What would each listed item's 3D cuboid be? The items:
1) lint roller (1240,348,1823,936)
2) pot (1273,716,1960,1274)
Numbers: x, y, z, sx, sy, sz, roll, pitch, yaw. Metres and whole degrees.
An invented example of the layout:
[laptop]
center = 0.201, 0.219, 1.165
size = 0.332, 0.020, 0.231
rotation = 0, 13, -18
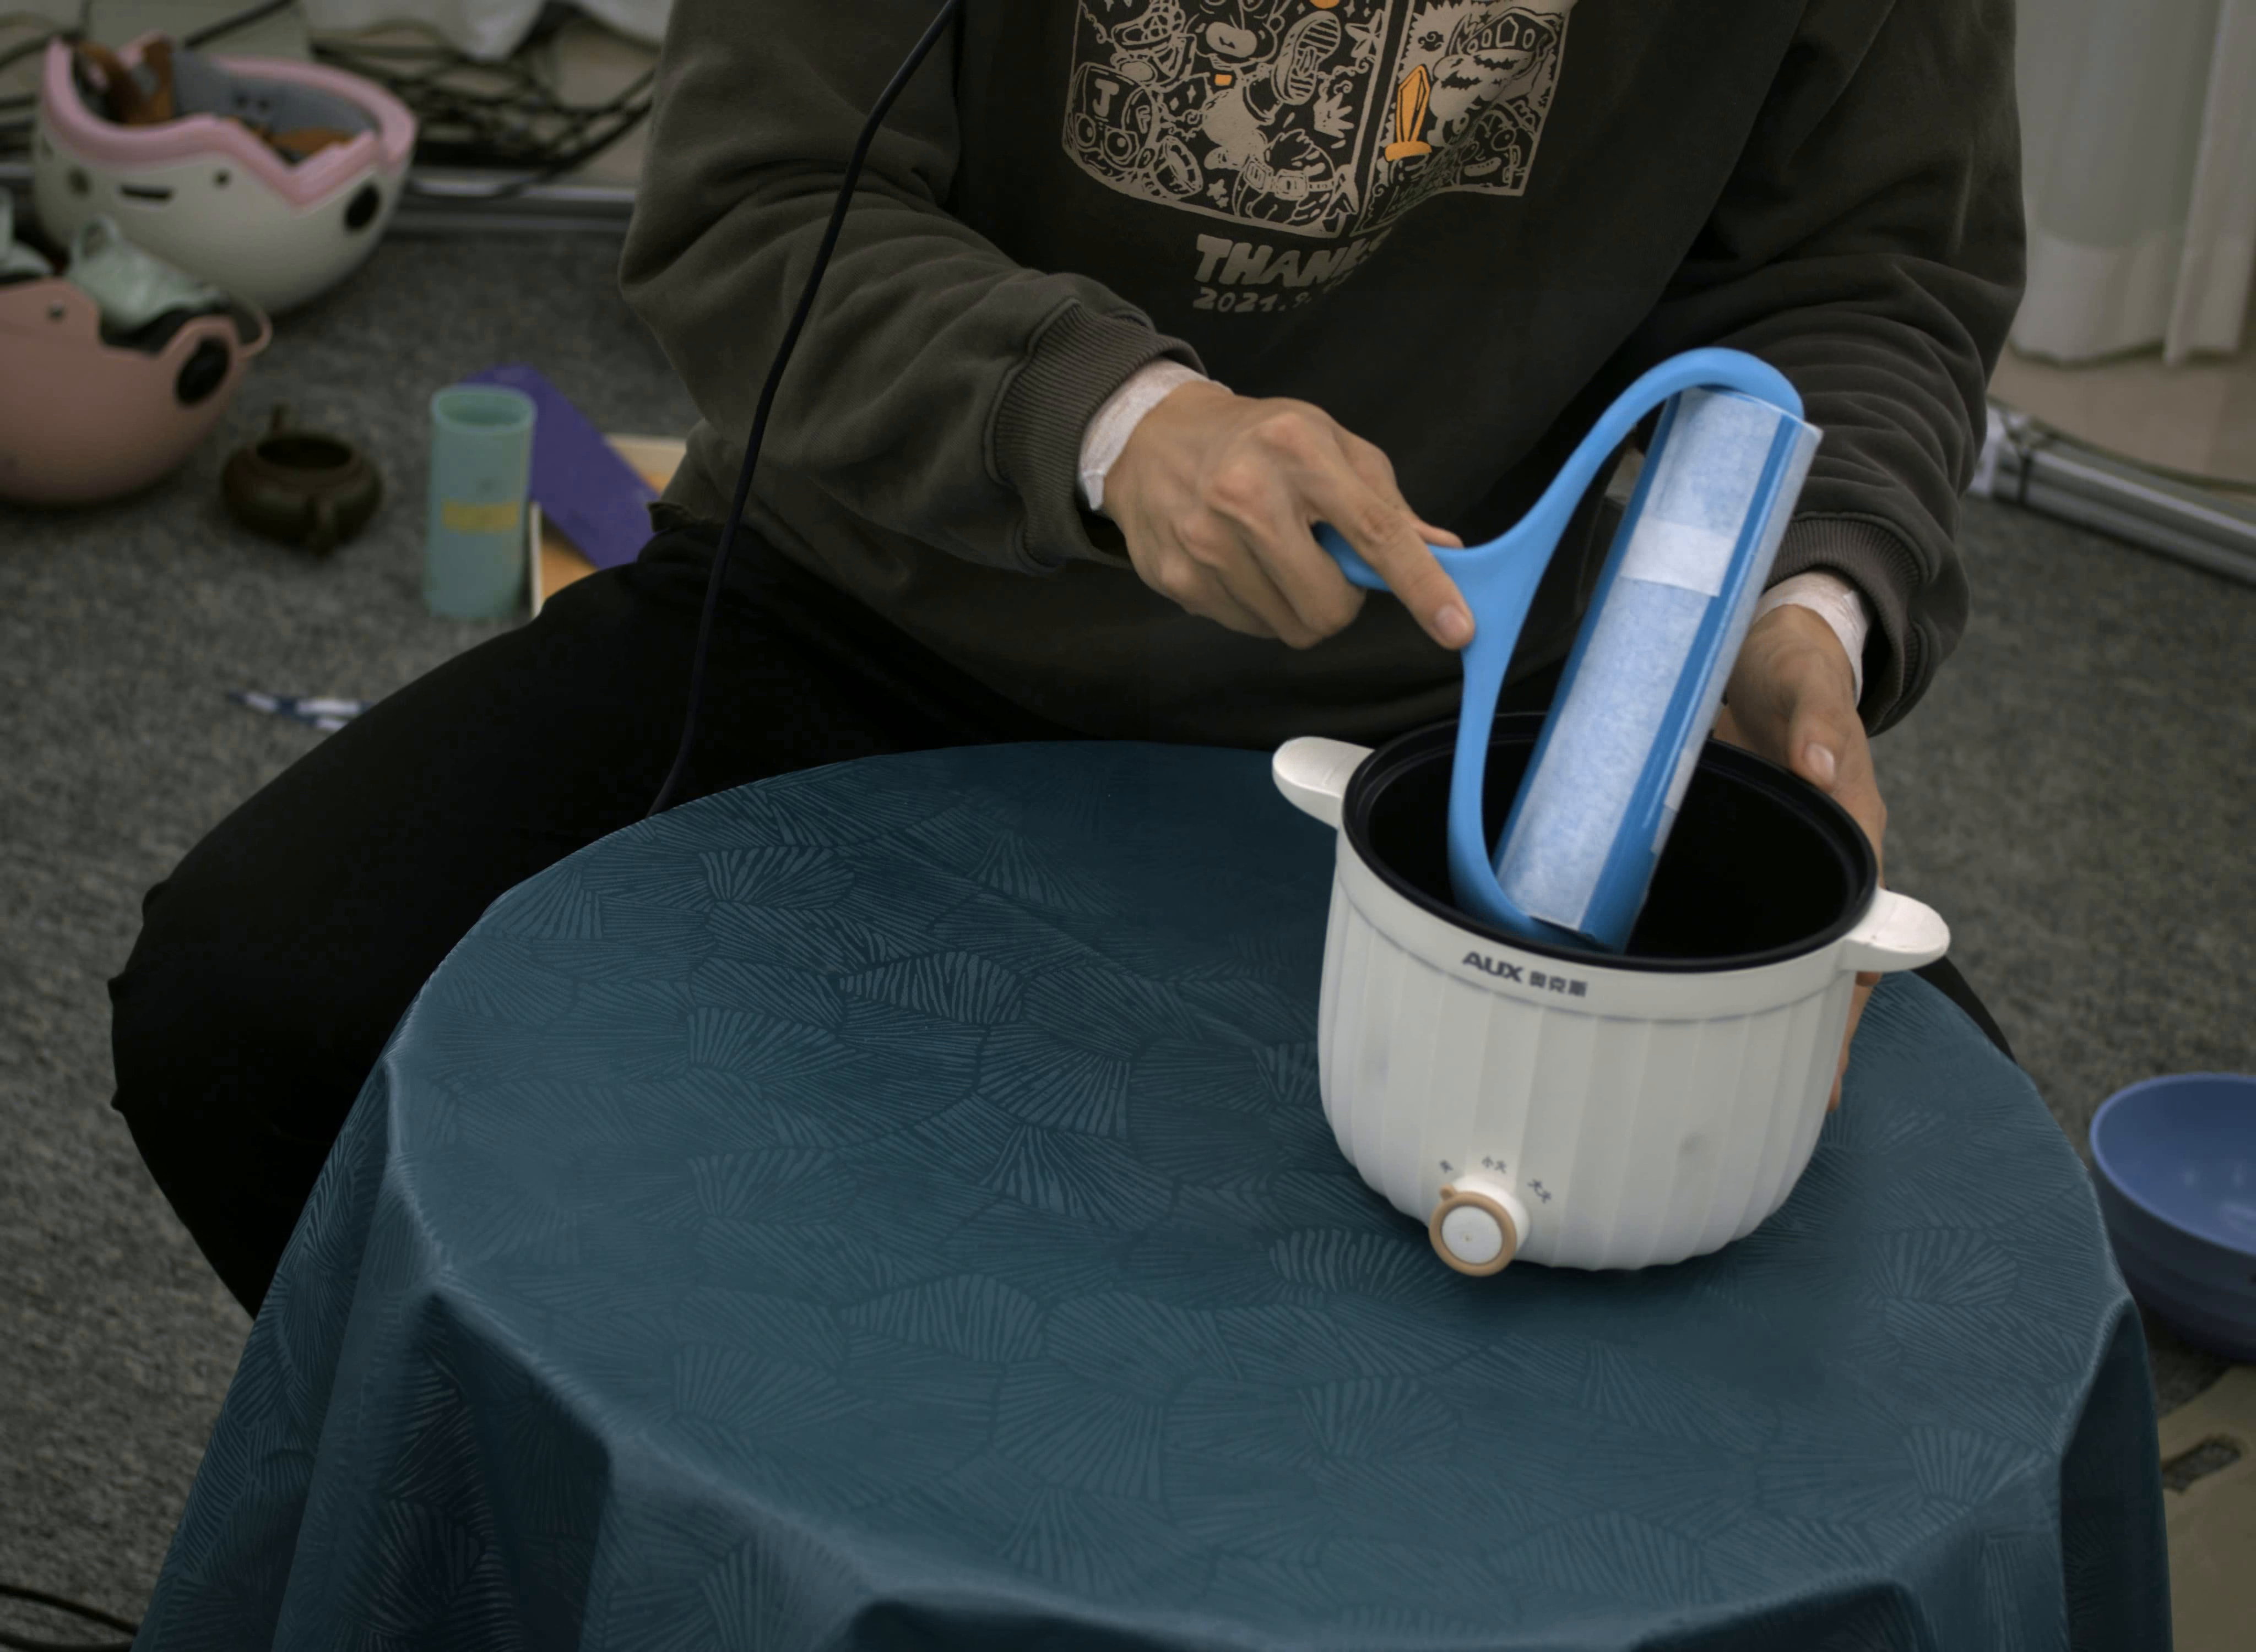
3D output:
[lint roller]
center = 0.122, -0.071, 1.810
size = 0.180, 0.229, 0.068
rotation = 18, -7, 5
[pot]
center = 0.154, 0.063, 1.805
size = 0.241, 0.142, 0.190
rotation = 14, 24, 18
